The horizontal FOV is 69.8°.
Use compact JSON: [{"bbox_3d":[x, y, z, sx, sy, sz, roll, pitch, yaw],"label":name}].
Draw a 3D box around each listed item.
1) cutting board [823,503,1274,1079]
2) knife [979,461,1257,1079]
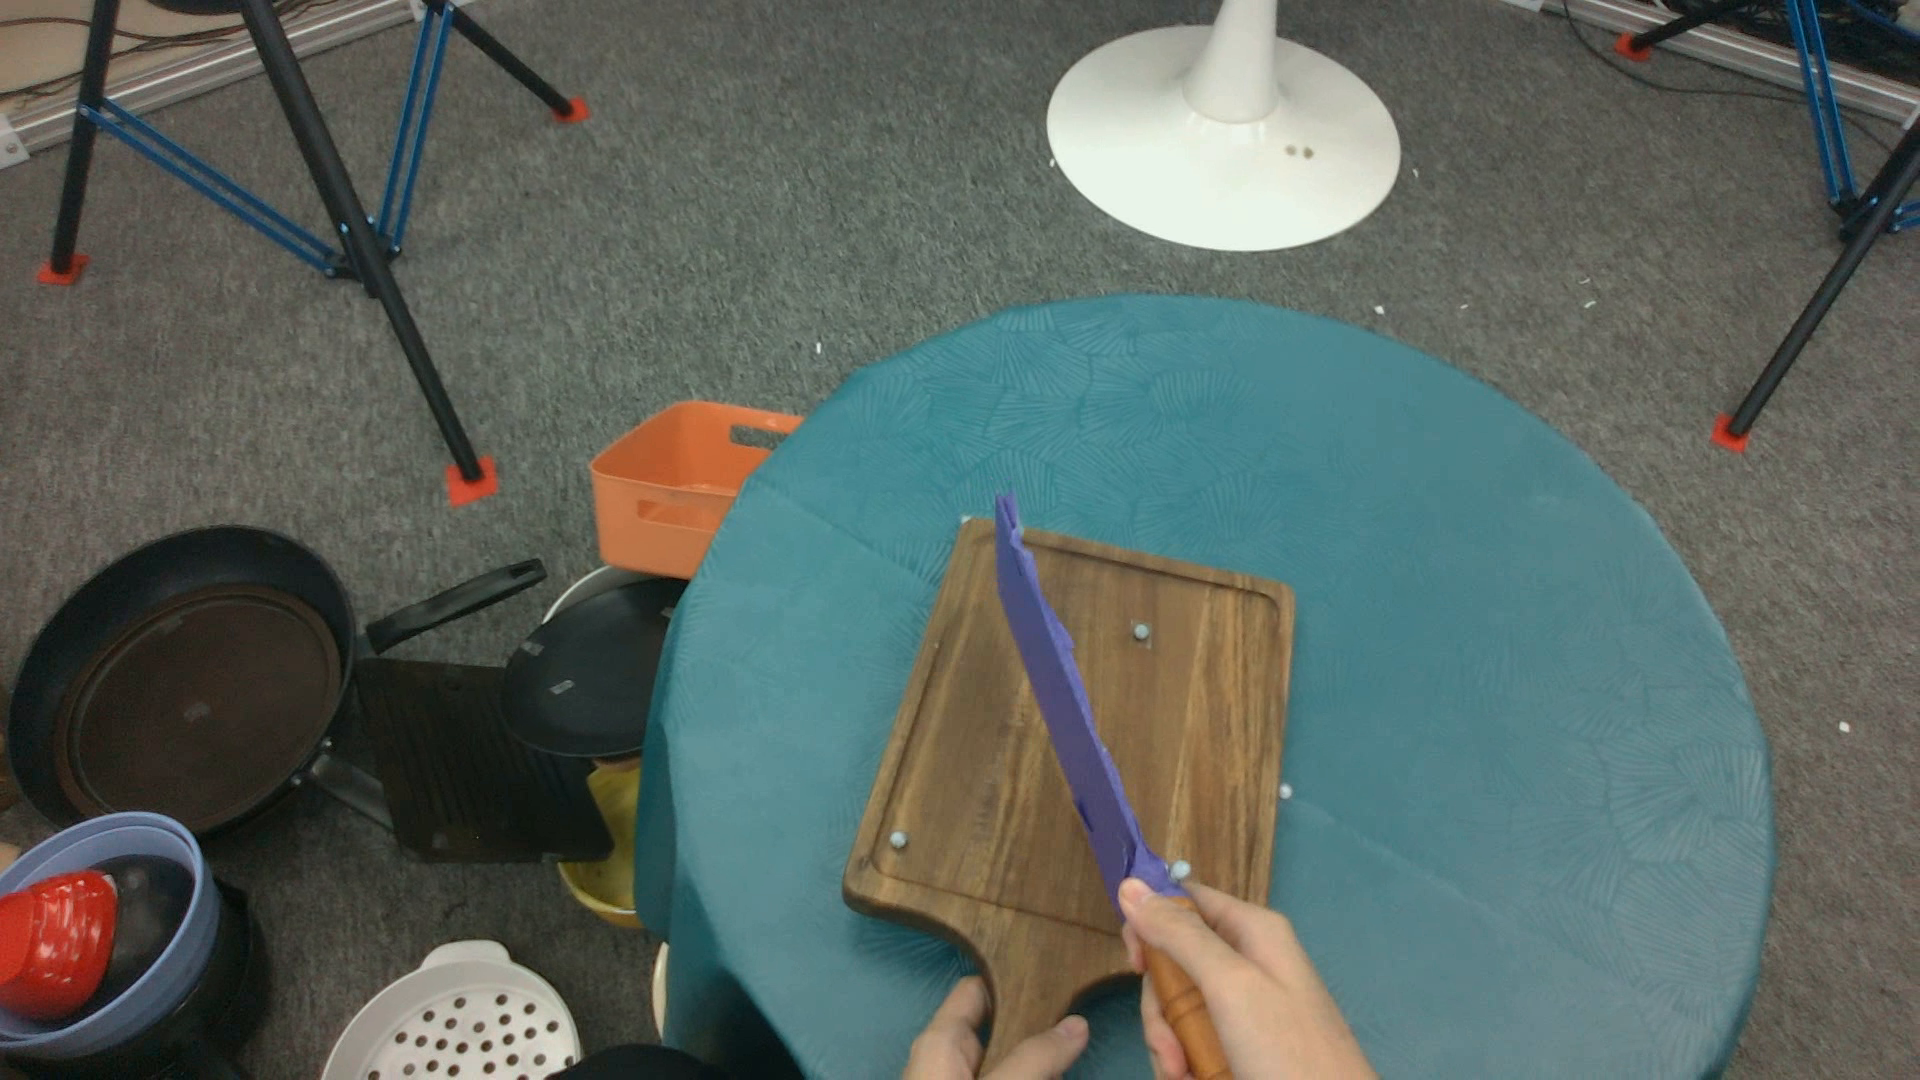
[{"bbox_3d":[0.046,0.127,0.681,0.201,0.023,0.354,13,49,5],"label":"cutting board"},{"bbox_3d":[0.060,0.109,0.624,0.032,0.103,0.316,-13,54,-7],"label":"knife"}]
